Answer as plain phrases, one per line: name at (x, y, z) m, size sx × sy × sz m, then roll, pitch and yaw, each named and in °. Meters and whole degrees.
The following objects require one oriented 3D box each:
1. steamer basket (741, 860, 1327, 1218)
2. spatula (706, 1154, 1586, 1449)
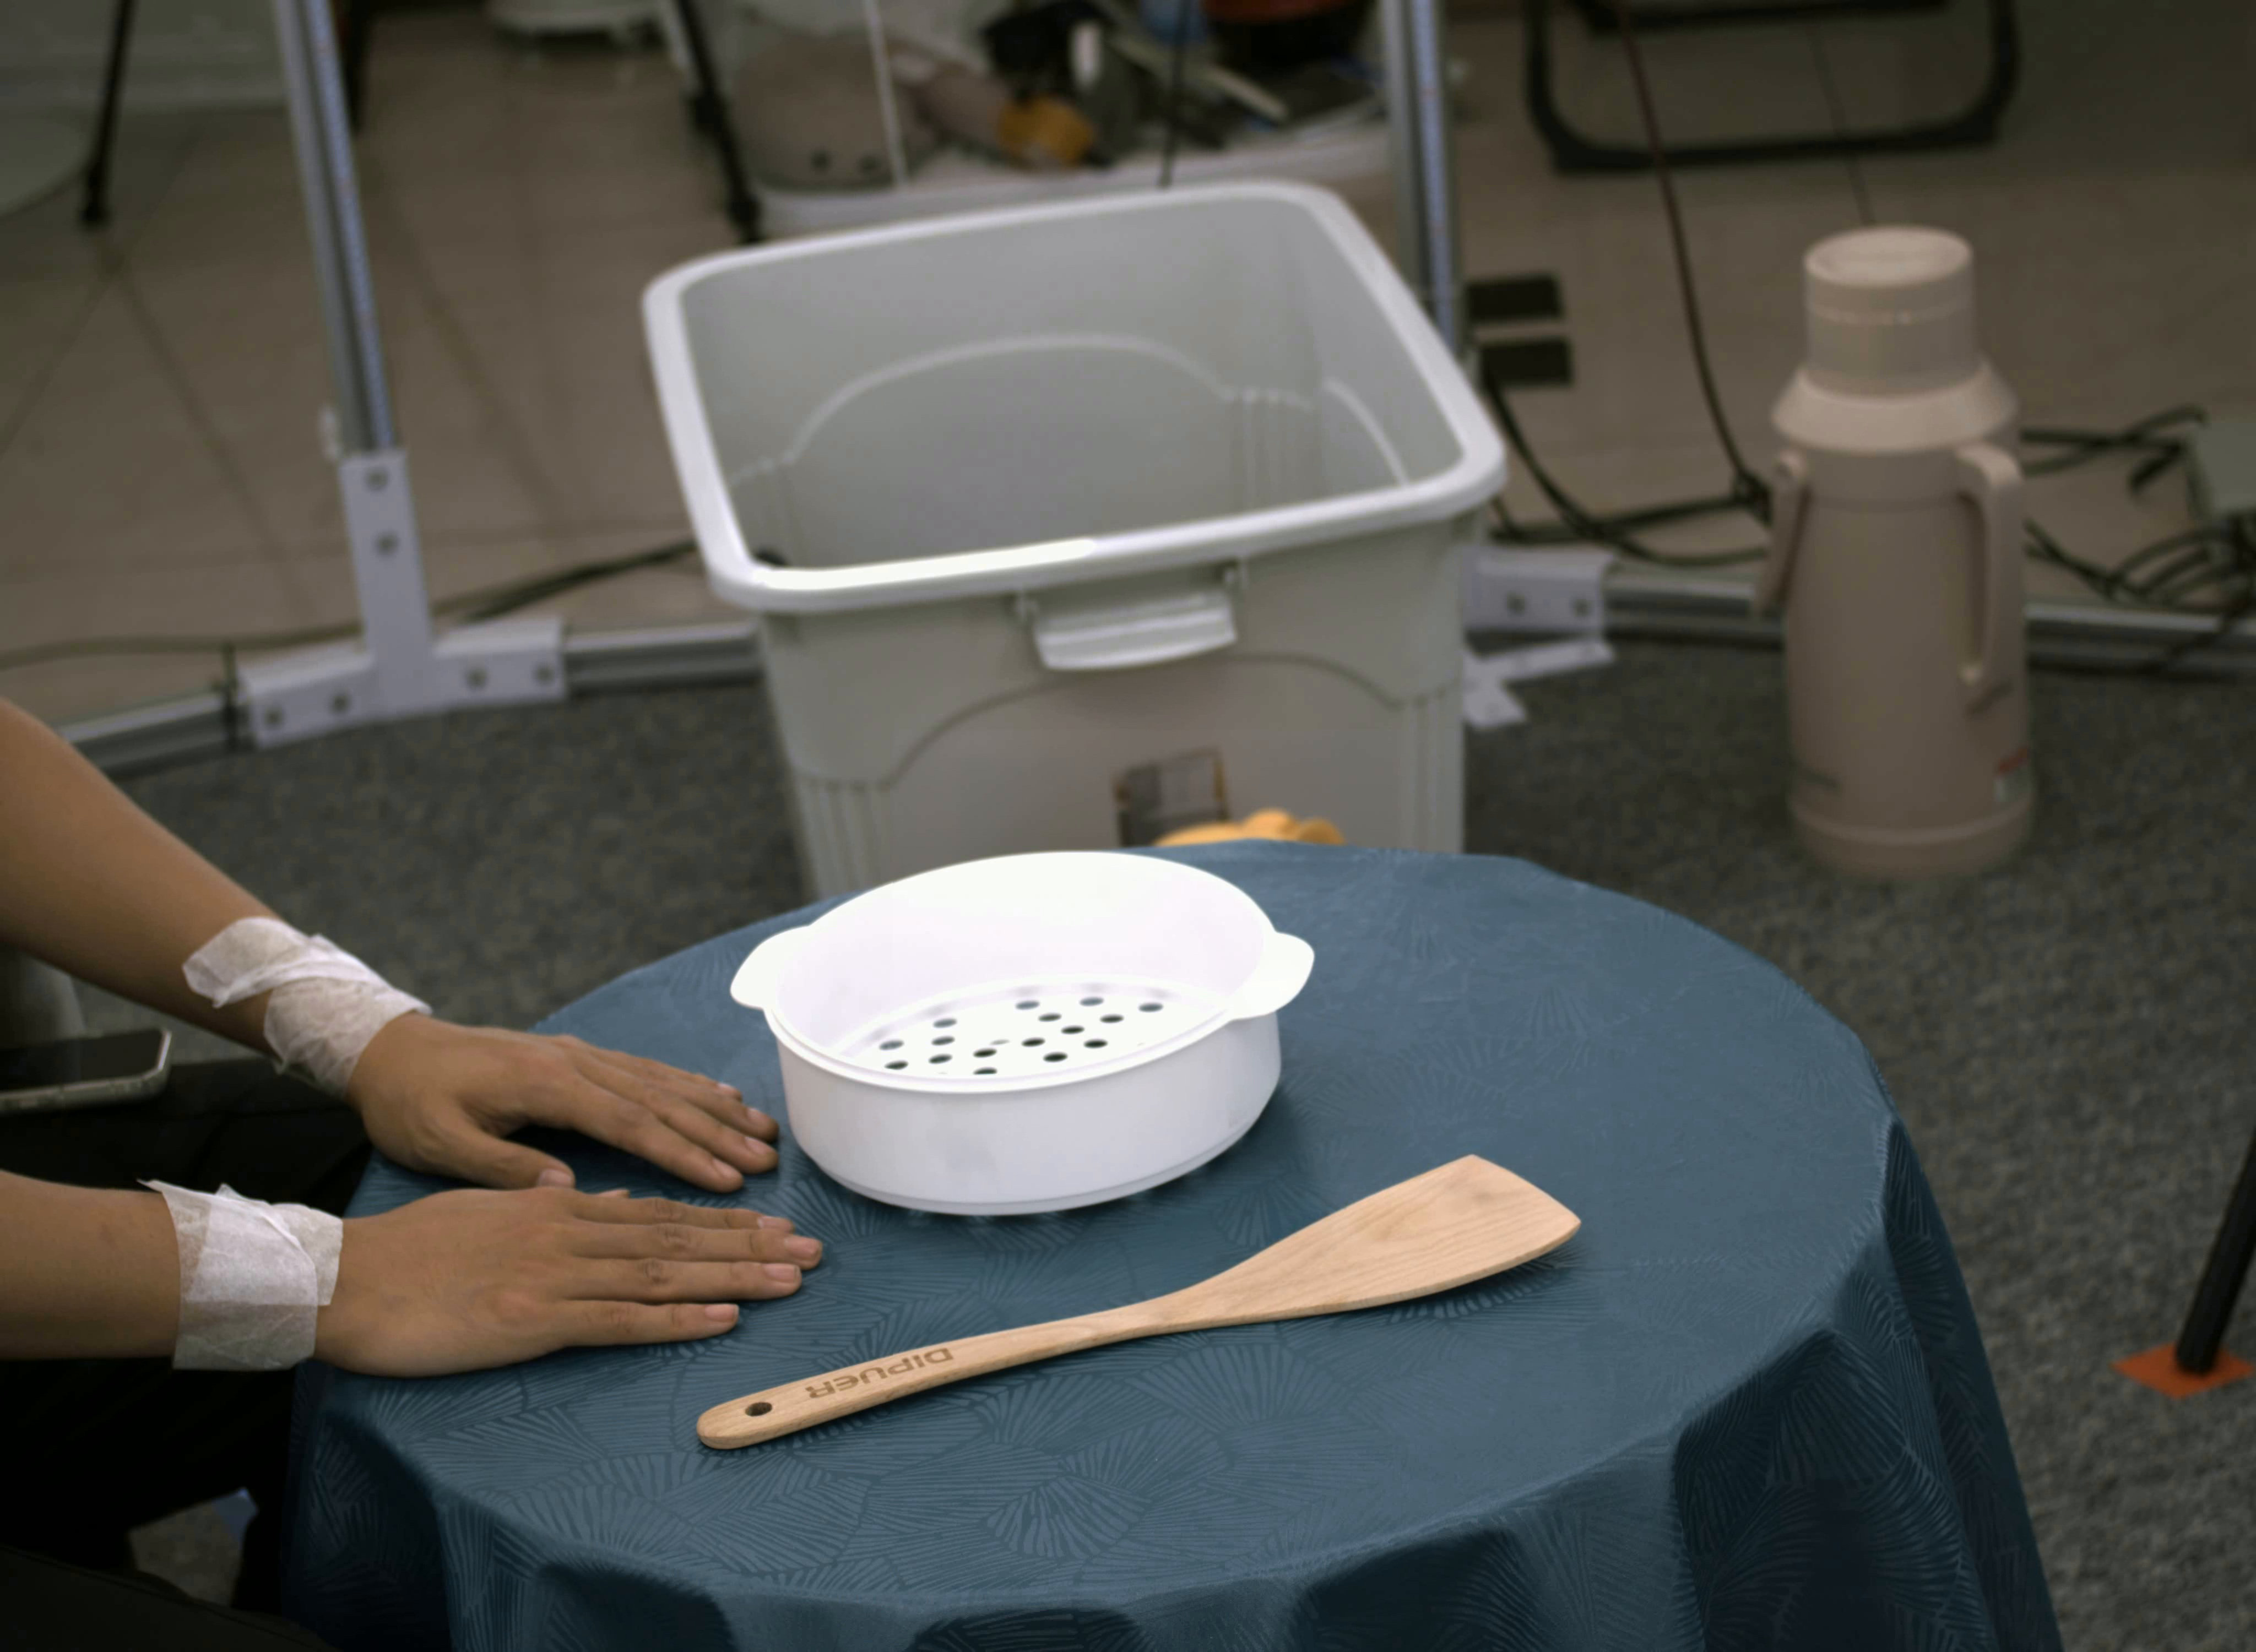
steamer basket at (-0.034, 0.082, 2.202) m, size 0.230 × 0.070 × 0.199 m, roll 1°, pitch 24°, yaw 16°
spatula at (0.004, 0.174, 2.054) m, size 0.326 × 0.017 × 0.079 m, roll -14°, pitch 25°, yaw -14°
